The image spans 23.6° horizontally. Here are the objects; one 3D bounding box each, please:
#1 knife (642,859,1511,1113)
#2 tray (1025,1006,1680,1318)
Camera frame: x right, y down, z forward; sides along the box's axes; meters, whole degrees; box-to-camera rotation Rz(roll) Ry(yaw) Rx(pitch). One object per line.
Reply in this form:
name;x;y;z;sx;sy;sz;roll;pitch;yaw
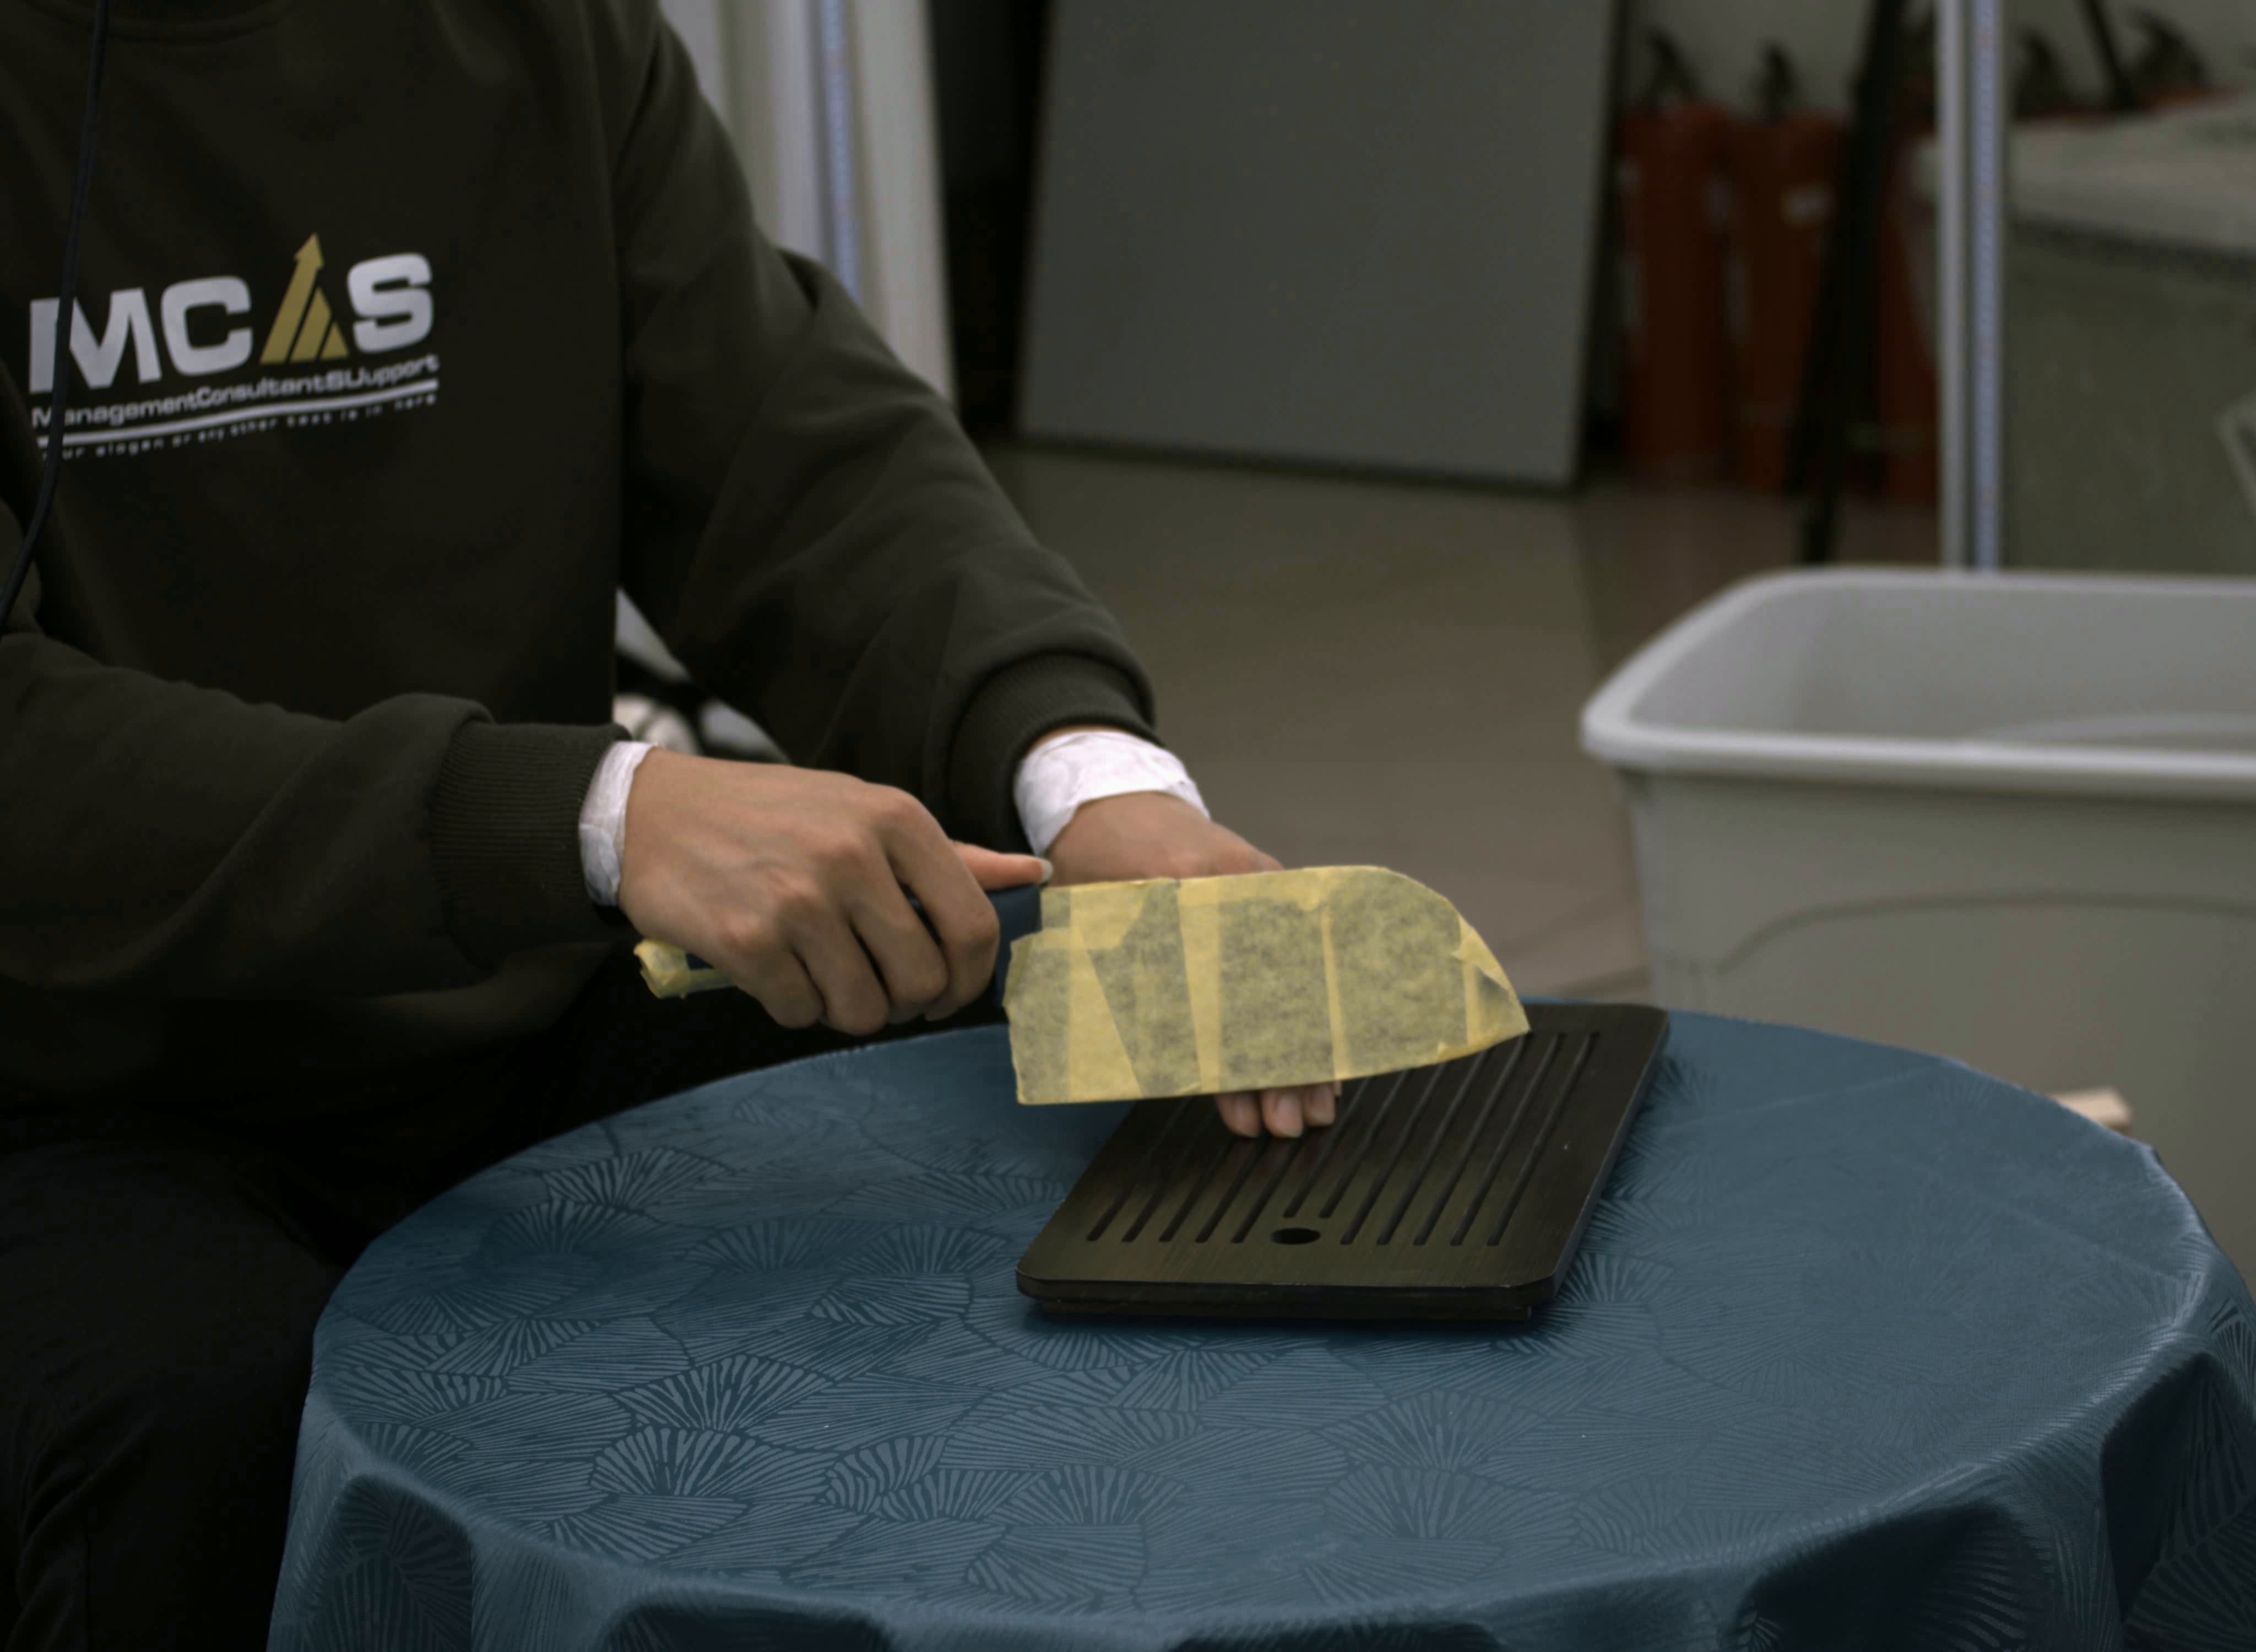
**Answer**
knife;-0.016;0.053;1.769;0.285;0.082;0.027;-2;-15;-1
tray;0.081;0.108;1.766;0.169;0.019;0.304;-1;13;14
